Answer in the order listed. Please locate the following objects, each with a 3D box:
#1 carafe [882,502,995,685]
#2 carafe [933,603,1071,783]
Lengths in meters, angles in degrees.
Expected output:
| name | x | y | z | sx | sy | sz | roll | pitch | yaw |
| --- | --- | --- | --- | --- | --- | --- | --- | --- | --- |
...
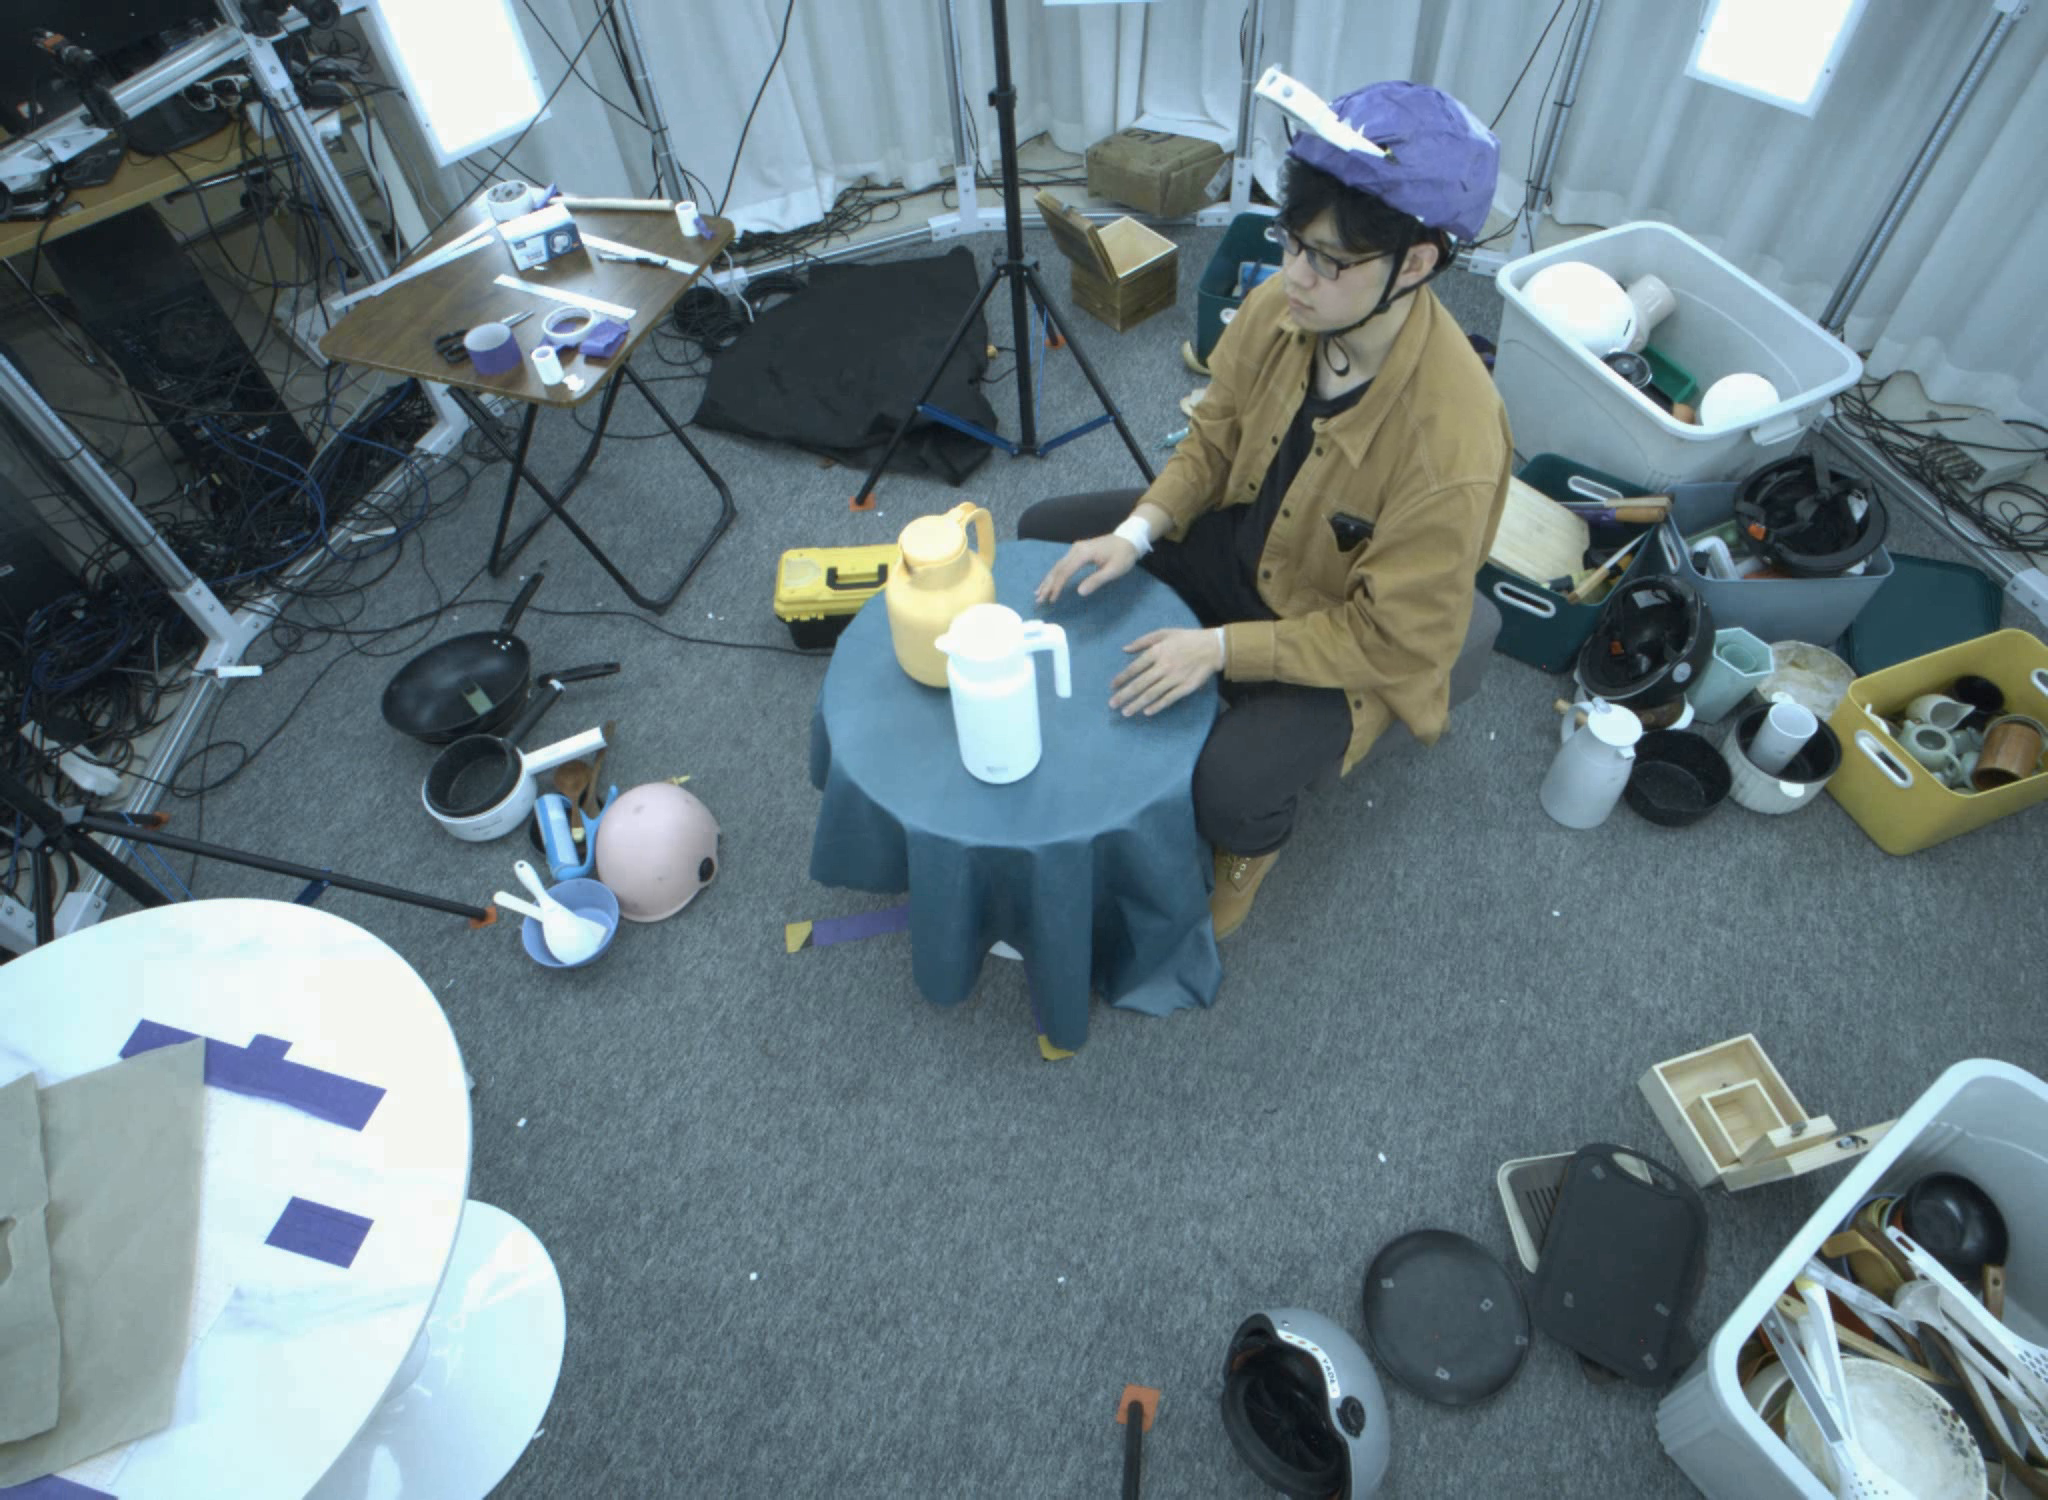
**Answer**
| name | x | y | z | sx | sy | sz | roll | pitch | yaw |
| --- | --- | --- | --- | --- | --- | --- | --- | --- | --- |
| carafe | -0.112 | -0.236 | 1.793 | 0.161 | 0.263 | 0.203 | 31 | 63 | 20 |
| carafe | -0.024 | -0.078 | 1.674 | 0.173 | 0.272 | 0.122 | -9 | 52 | -3 |
